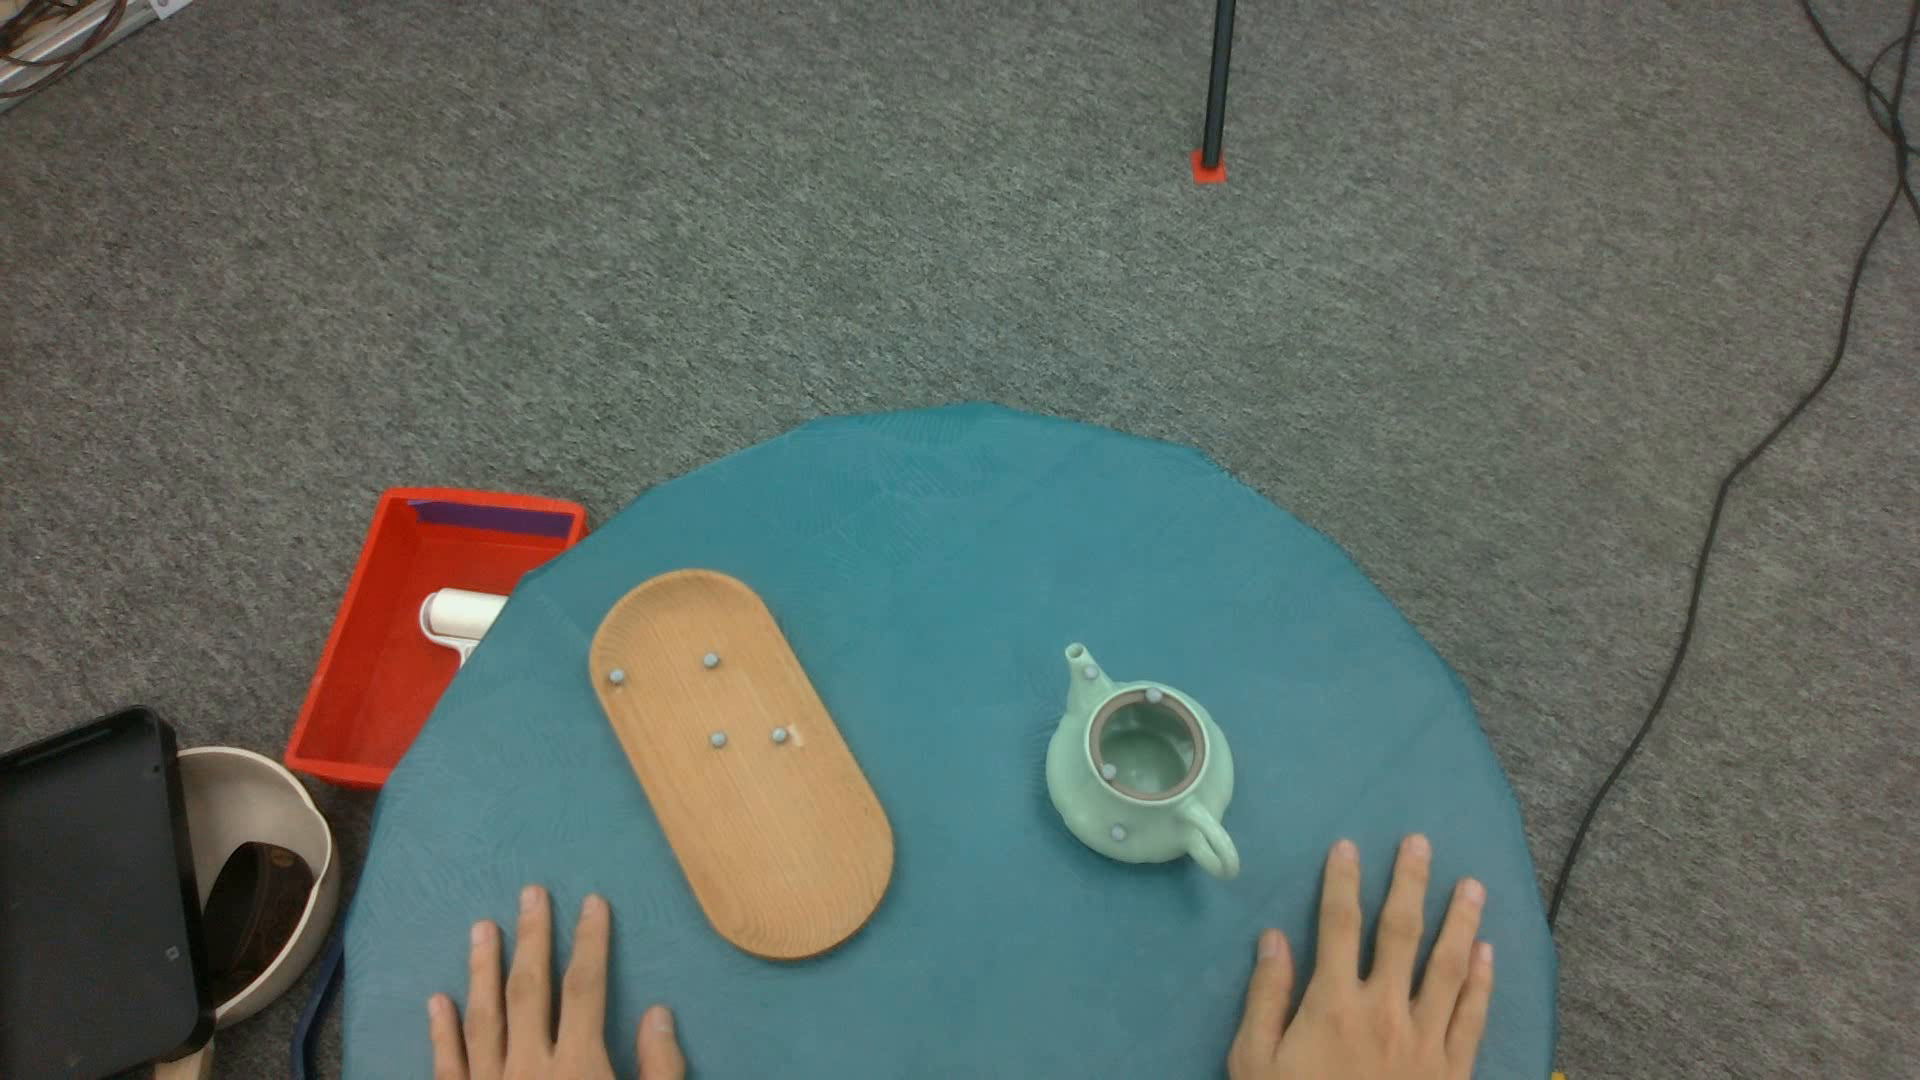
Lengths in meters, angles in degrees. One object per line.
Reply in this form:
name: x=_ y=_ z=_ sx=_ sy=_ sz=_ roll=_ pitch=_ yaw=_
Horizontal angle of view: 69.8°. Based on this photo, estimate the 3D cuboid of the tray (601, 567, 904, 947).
tray: x=-0.114 y=0.111 z=0.741 sx=0.102 sy=0.020 sz=0.231 roll=-29 pitch=65 yaw=-13

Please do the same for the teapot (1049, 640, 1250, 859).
teapot: x=0.097 y=0.112 z=0.709 sx=0.096 sy=0.061 sz=0.137 roll=-33 pitch=65 yaw=-17
